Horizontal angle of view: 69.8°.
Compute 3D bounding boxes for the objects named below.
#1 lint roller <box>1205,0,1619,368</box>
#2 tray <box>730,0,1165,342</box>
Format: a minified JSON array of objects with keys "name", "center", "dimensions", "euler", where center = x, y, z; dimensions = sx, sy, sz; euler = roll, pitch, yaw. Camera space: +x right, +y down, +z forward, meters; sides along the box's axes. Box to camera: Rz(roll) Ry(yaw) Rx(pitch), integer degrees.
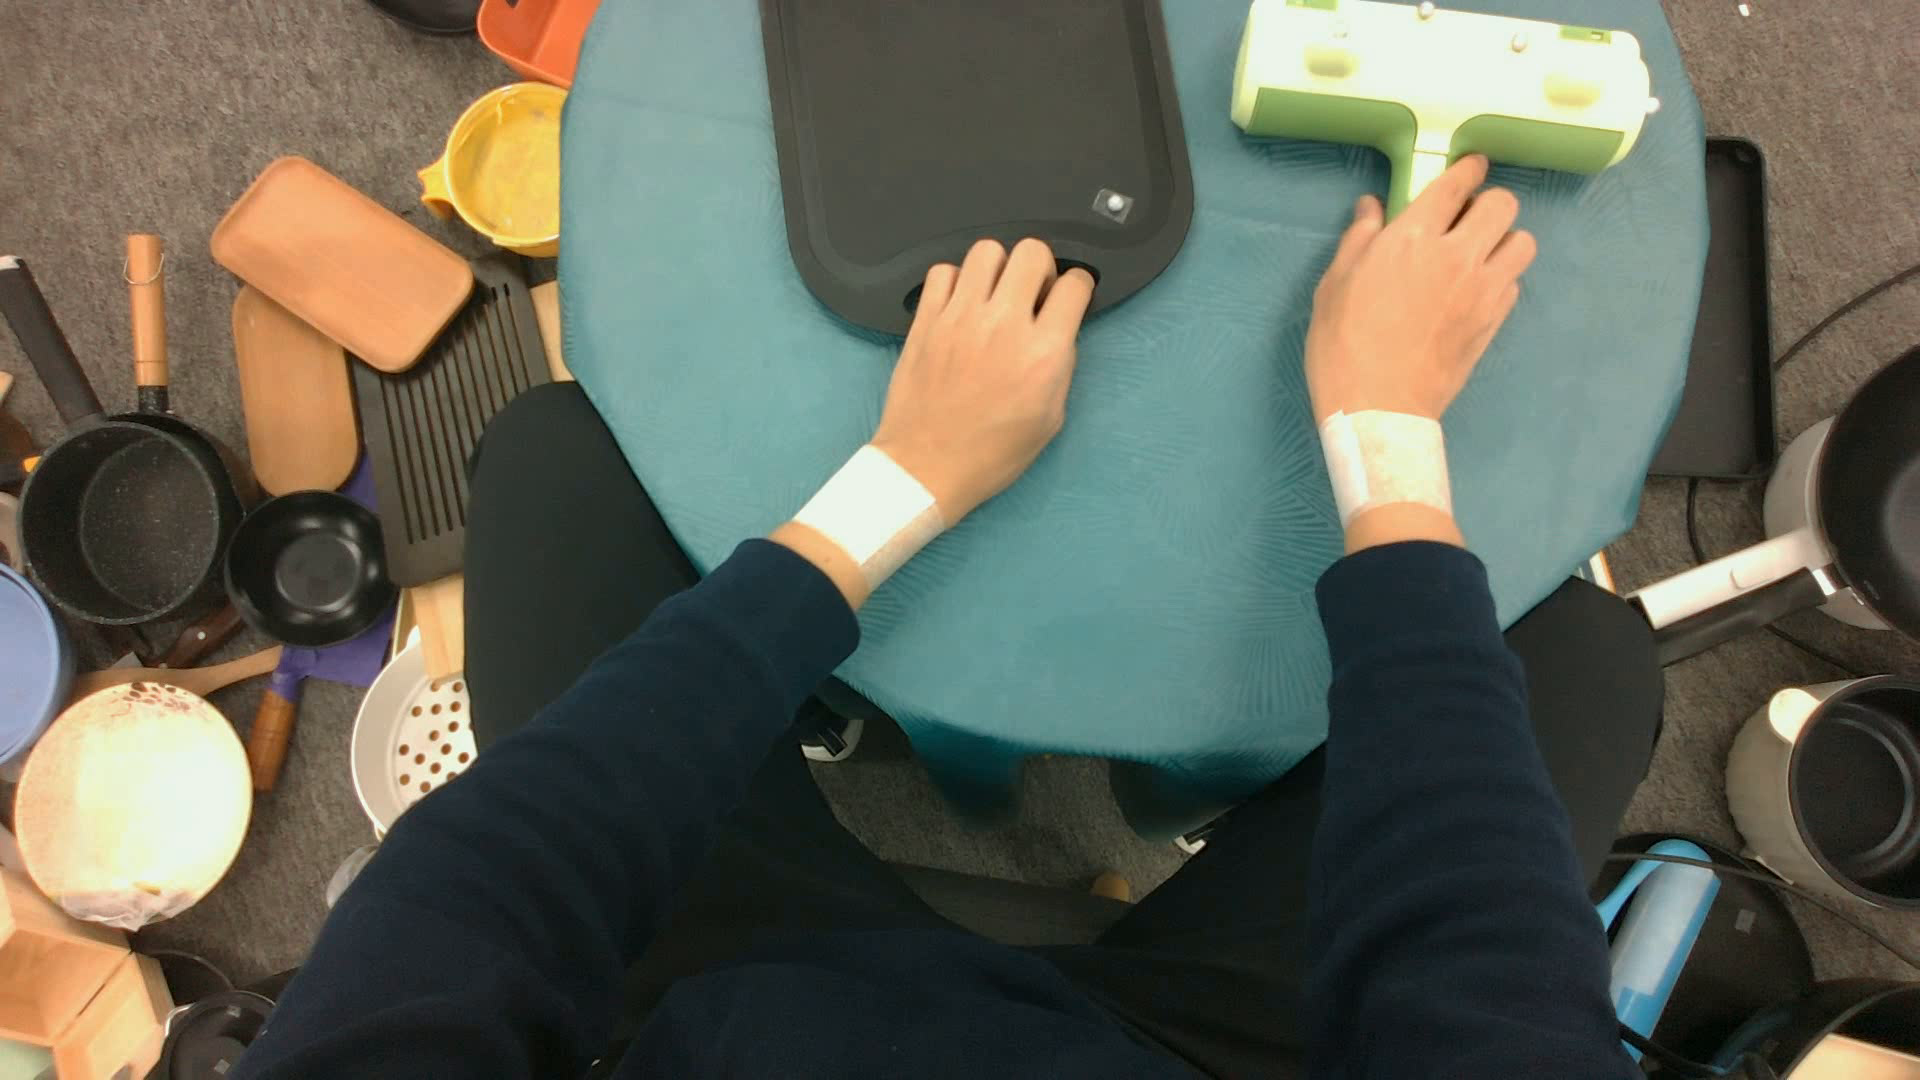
[{"name":"lint roller","center":[0.219,-0.181,0.675],"dimensions":[0.198,0.082,0.184],"euler":[6,76,3]},{"name":"tray","center":[-0.012,-0.261,0.721],"dimensions":[0.211,0.010,0.326],"euler":[-8,79,0]}]
